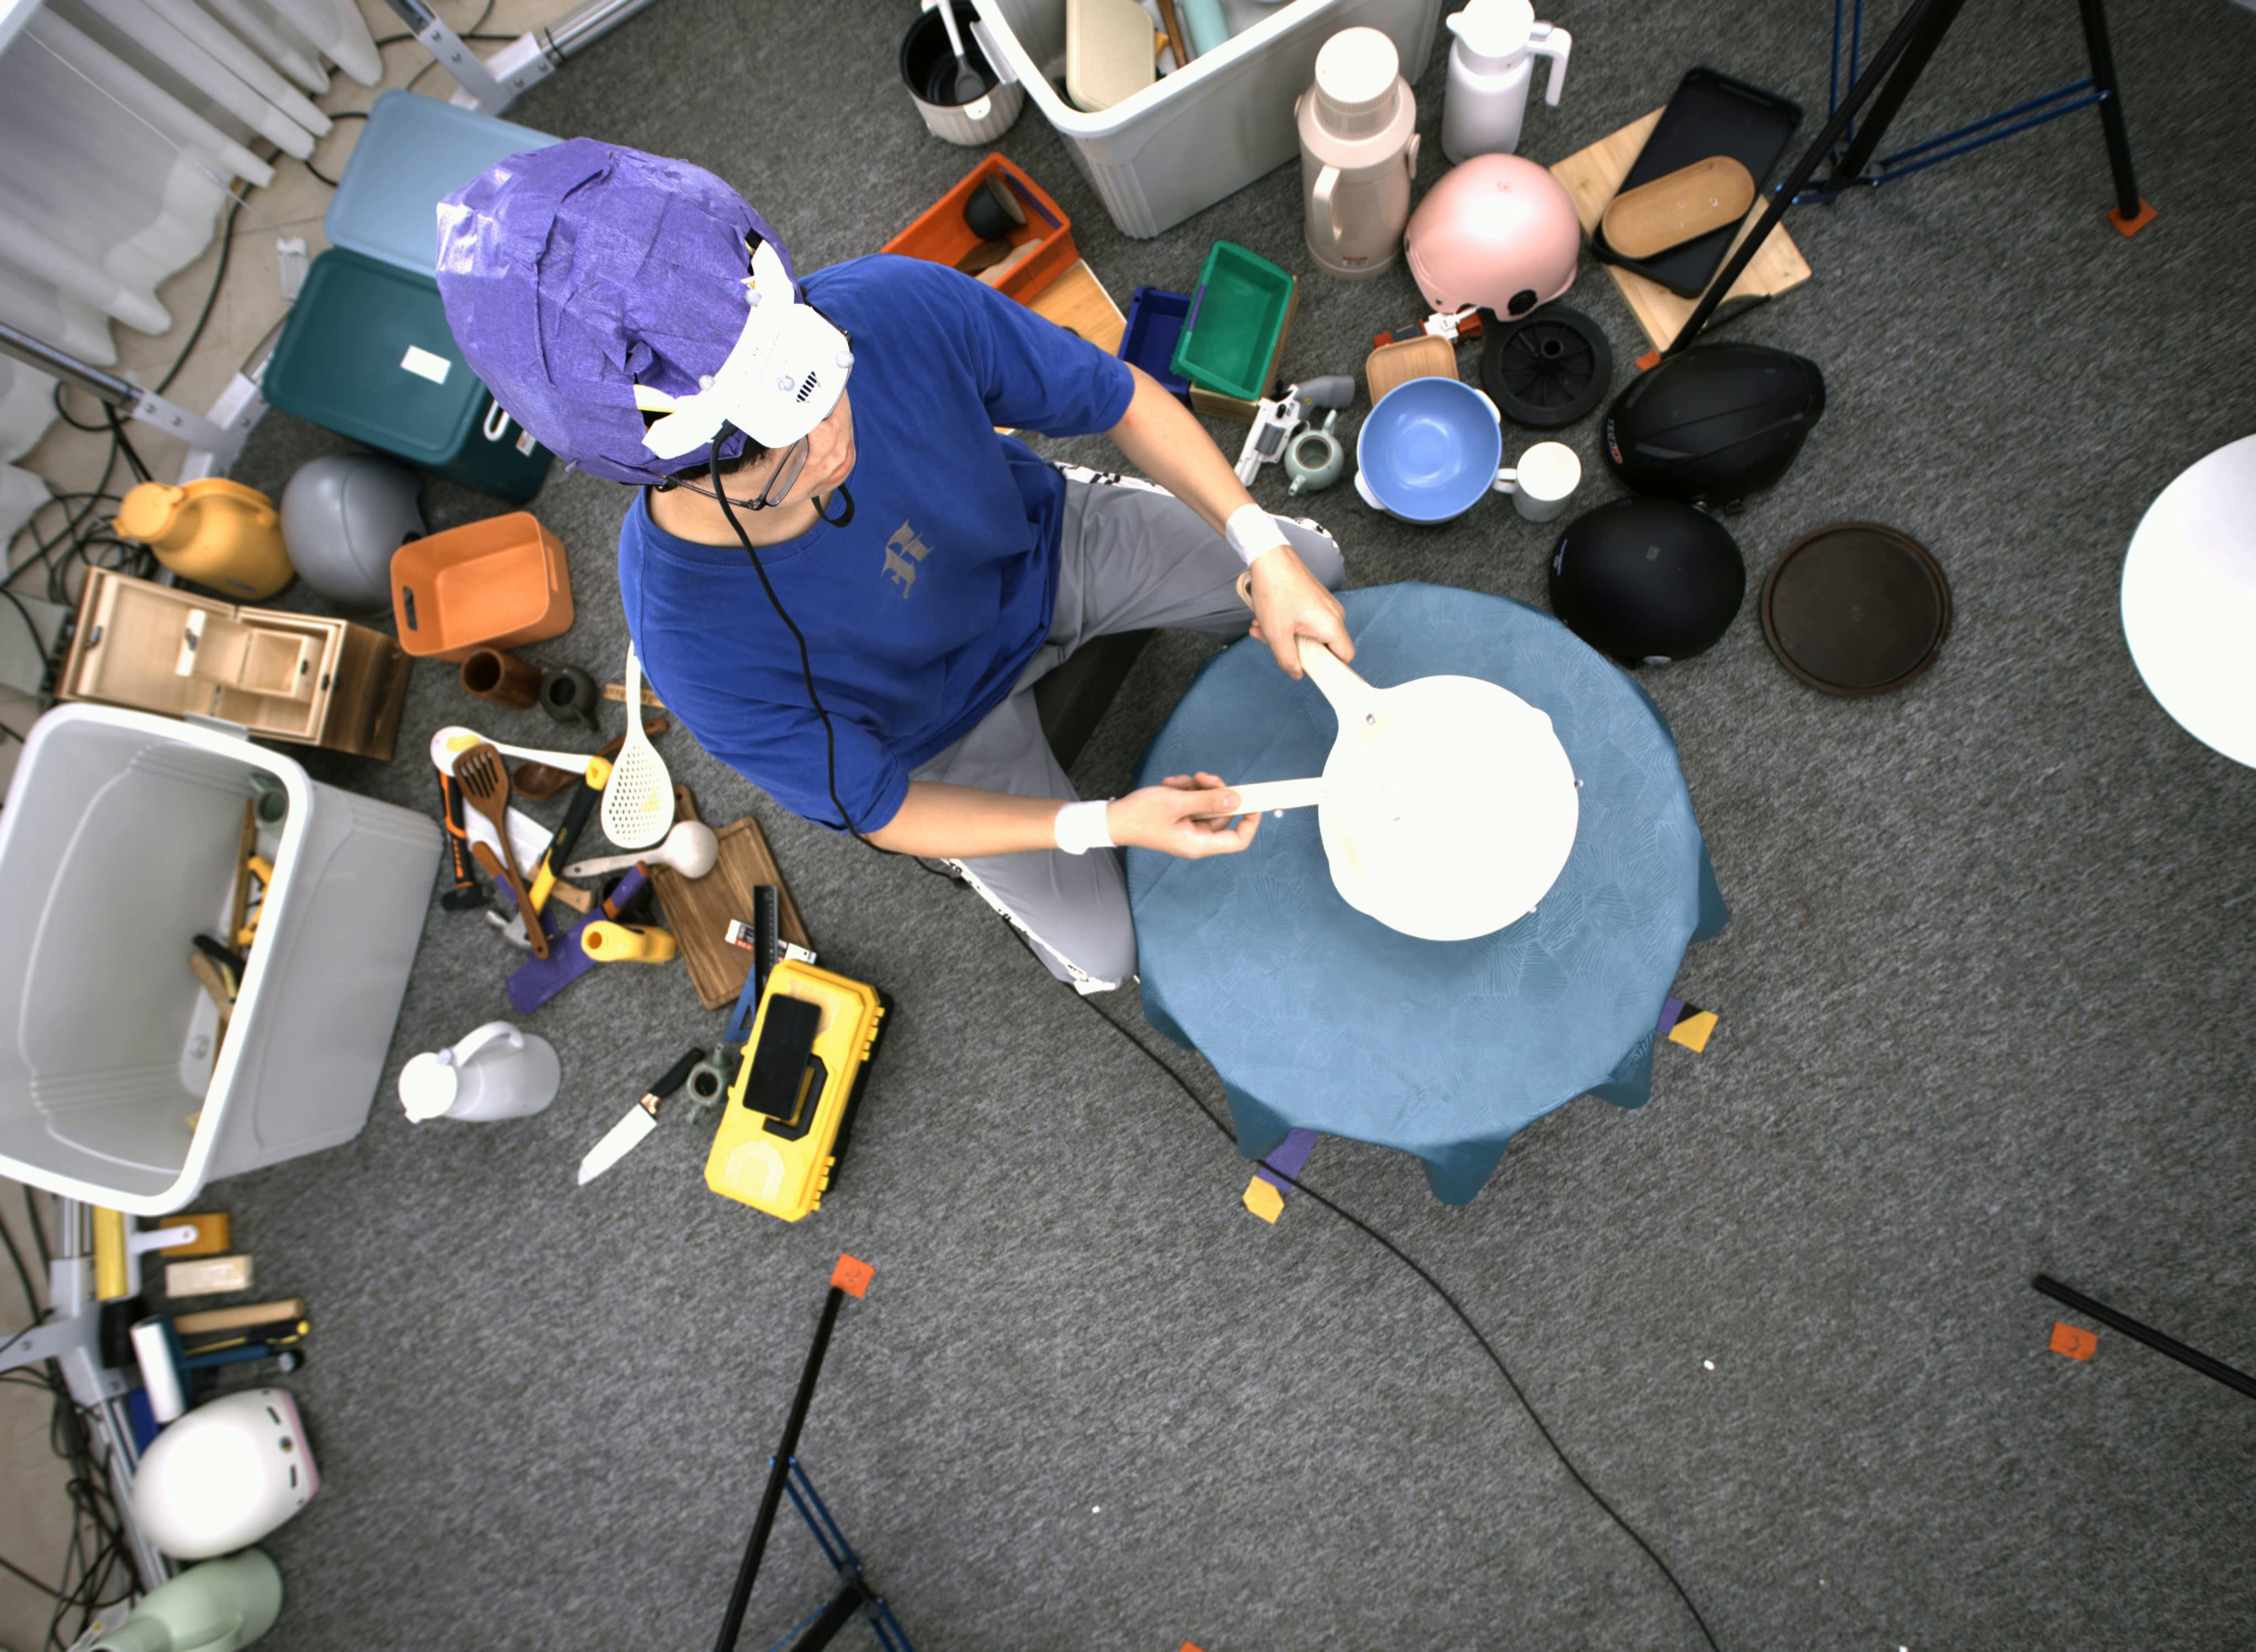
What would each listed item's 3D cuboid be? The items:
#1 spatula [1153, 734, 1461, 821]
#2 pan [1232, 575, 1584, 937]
[{"bbox_3d":[0.164,-0.034,1.299,0.295,0.010,0.072,-7,87,18],"label":"spatula"},{"bbox_3d":[0.263,-0.091,1.357,0.268,0.101,0.430,-47,70,26],"label":"pan"}]
